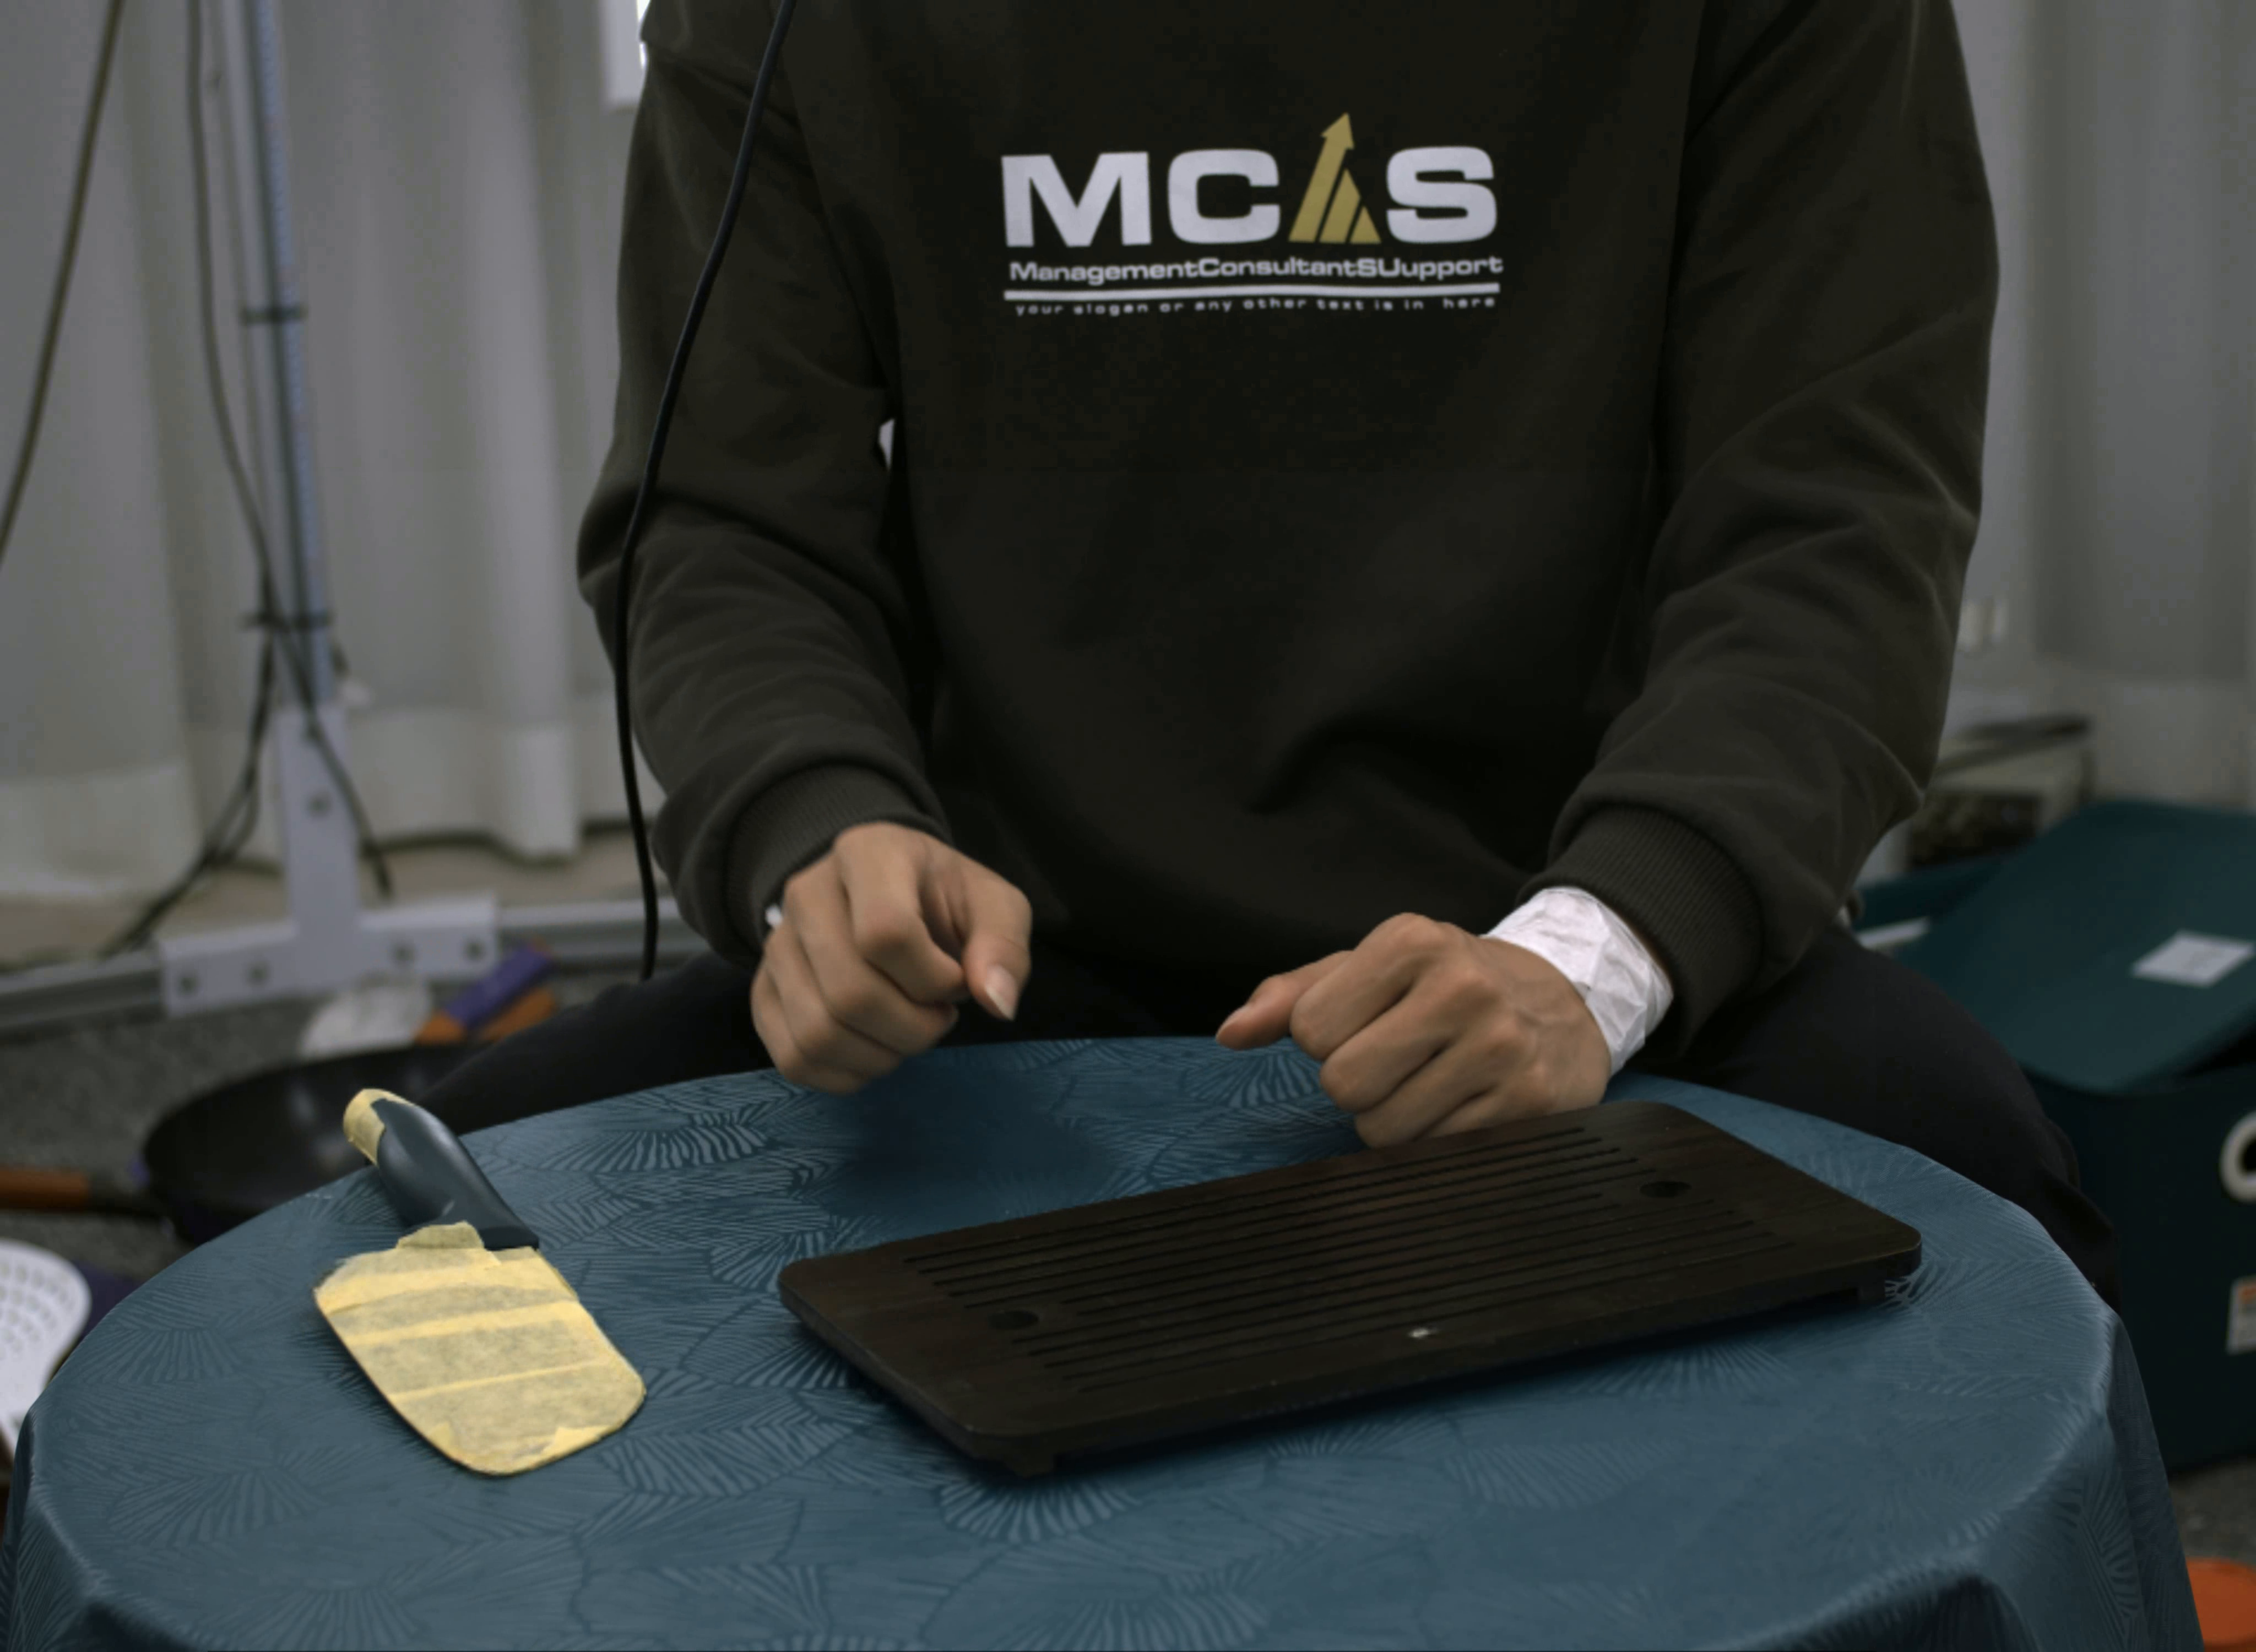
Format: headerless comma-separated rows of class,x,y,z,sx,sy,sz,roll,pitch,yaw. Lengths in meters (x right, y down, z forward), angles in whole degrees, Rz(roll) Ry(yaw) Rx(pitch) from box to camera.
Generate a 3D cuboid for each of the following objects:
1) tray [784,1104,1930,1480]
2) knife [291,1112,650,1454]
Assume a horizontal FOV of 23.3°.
tray,0.066,0.134,1.598,0.304,0.018,0.171,-9,15,-23
knife,-0.208,0.137,1.640,0.080,0.027,0.292,-2,15,-19
